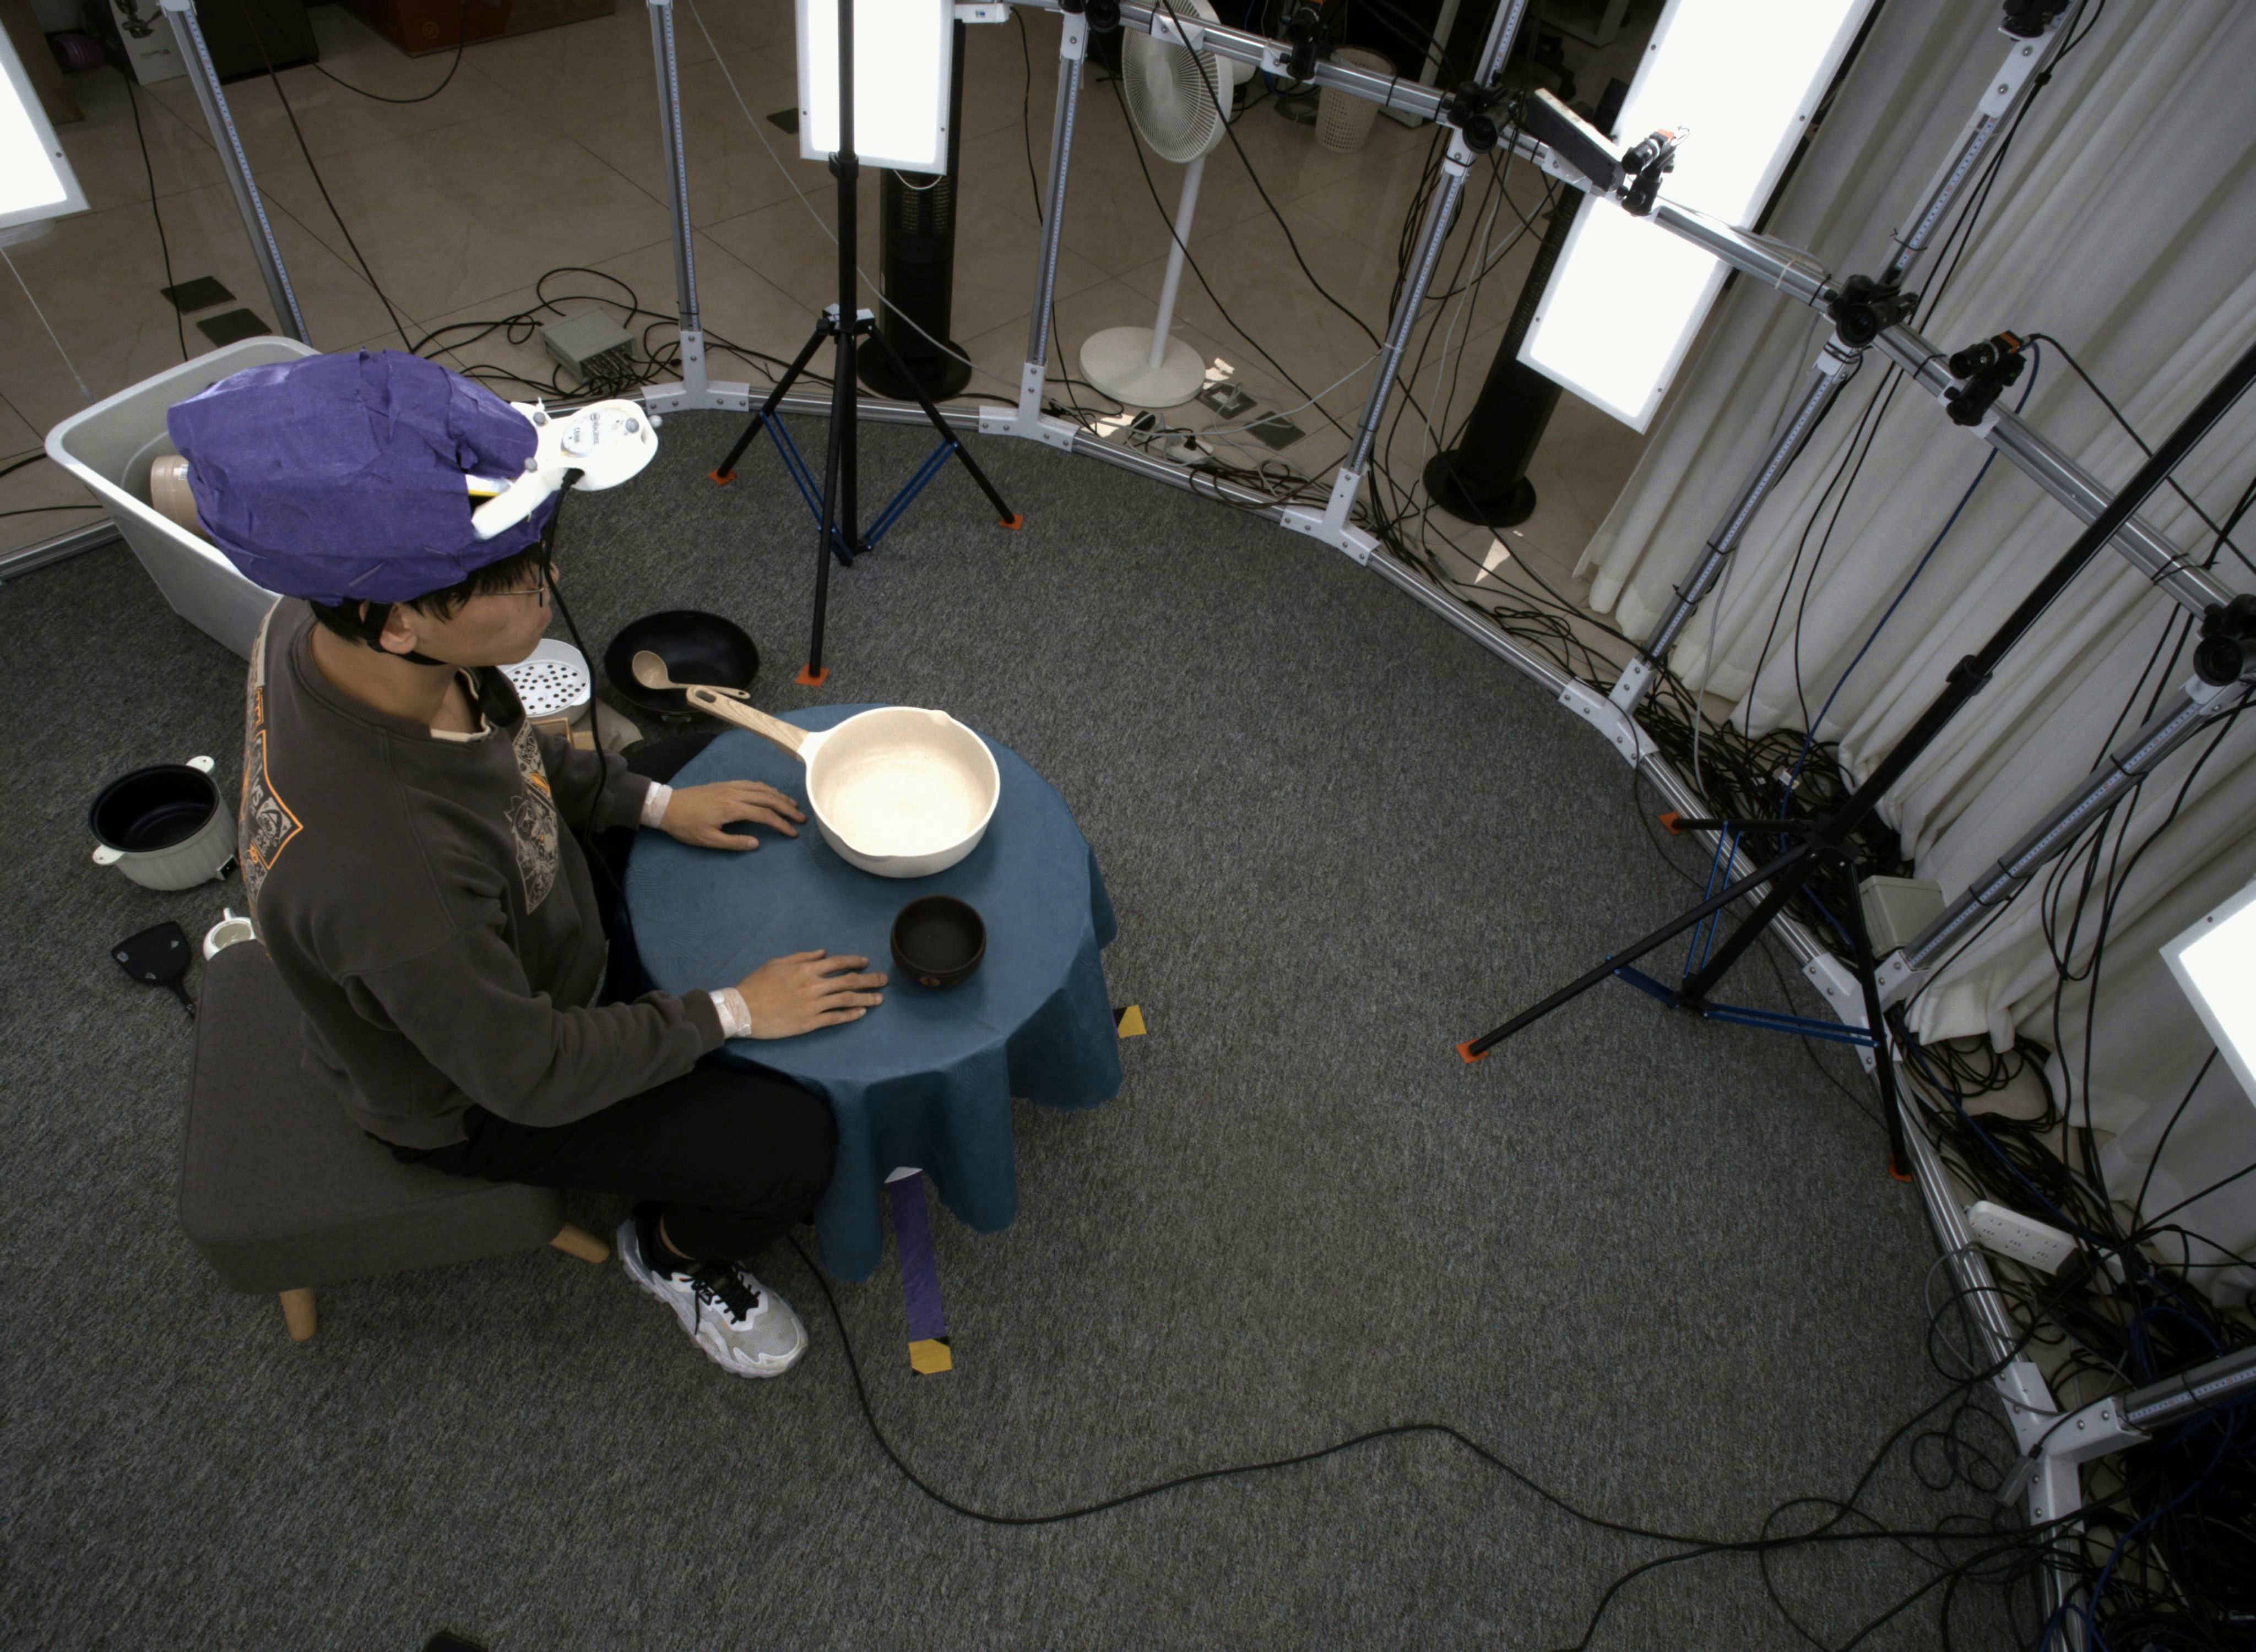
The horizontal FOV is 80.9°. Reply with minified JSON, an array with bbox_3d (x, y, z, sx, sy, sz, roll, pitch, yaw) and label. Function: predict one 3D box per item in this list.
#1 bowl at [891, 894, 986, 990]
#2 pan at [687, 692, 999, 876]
[{"bbox_3d":[-0.237,0.151,1.628,0.117,0.071,0.116,6,54,-7],"label":"bowl"},{"bbox_3d":[-0.385,-0.077,1.742,0.430,0.104,0.261,19,54,2],"label":"pan"}]
